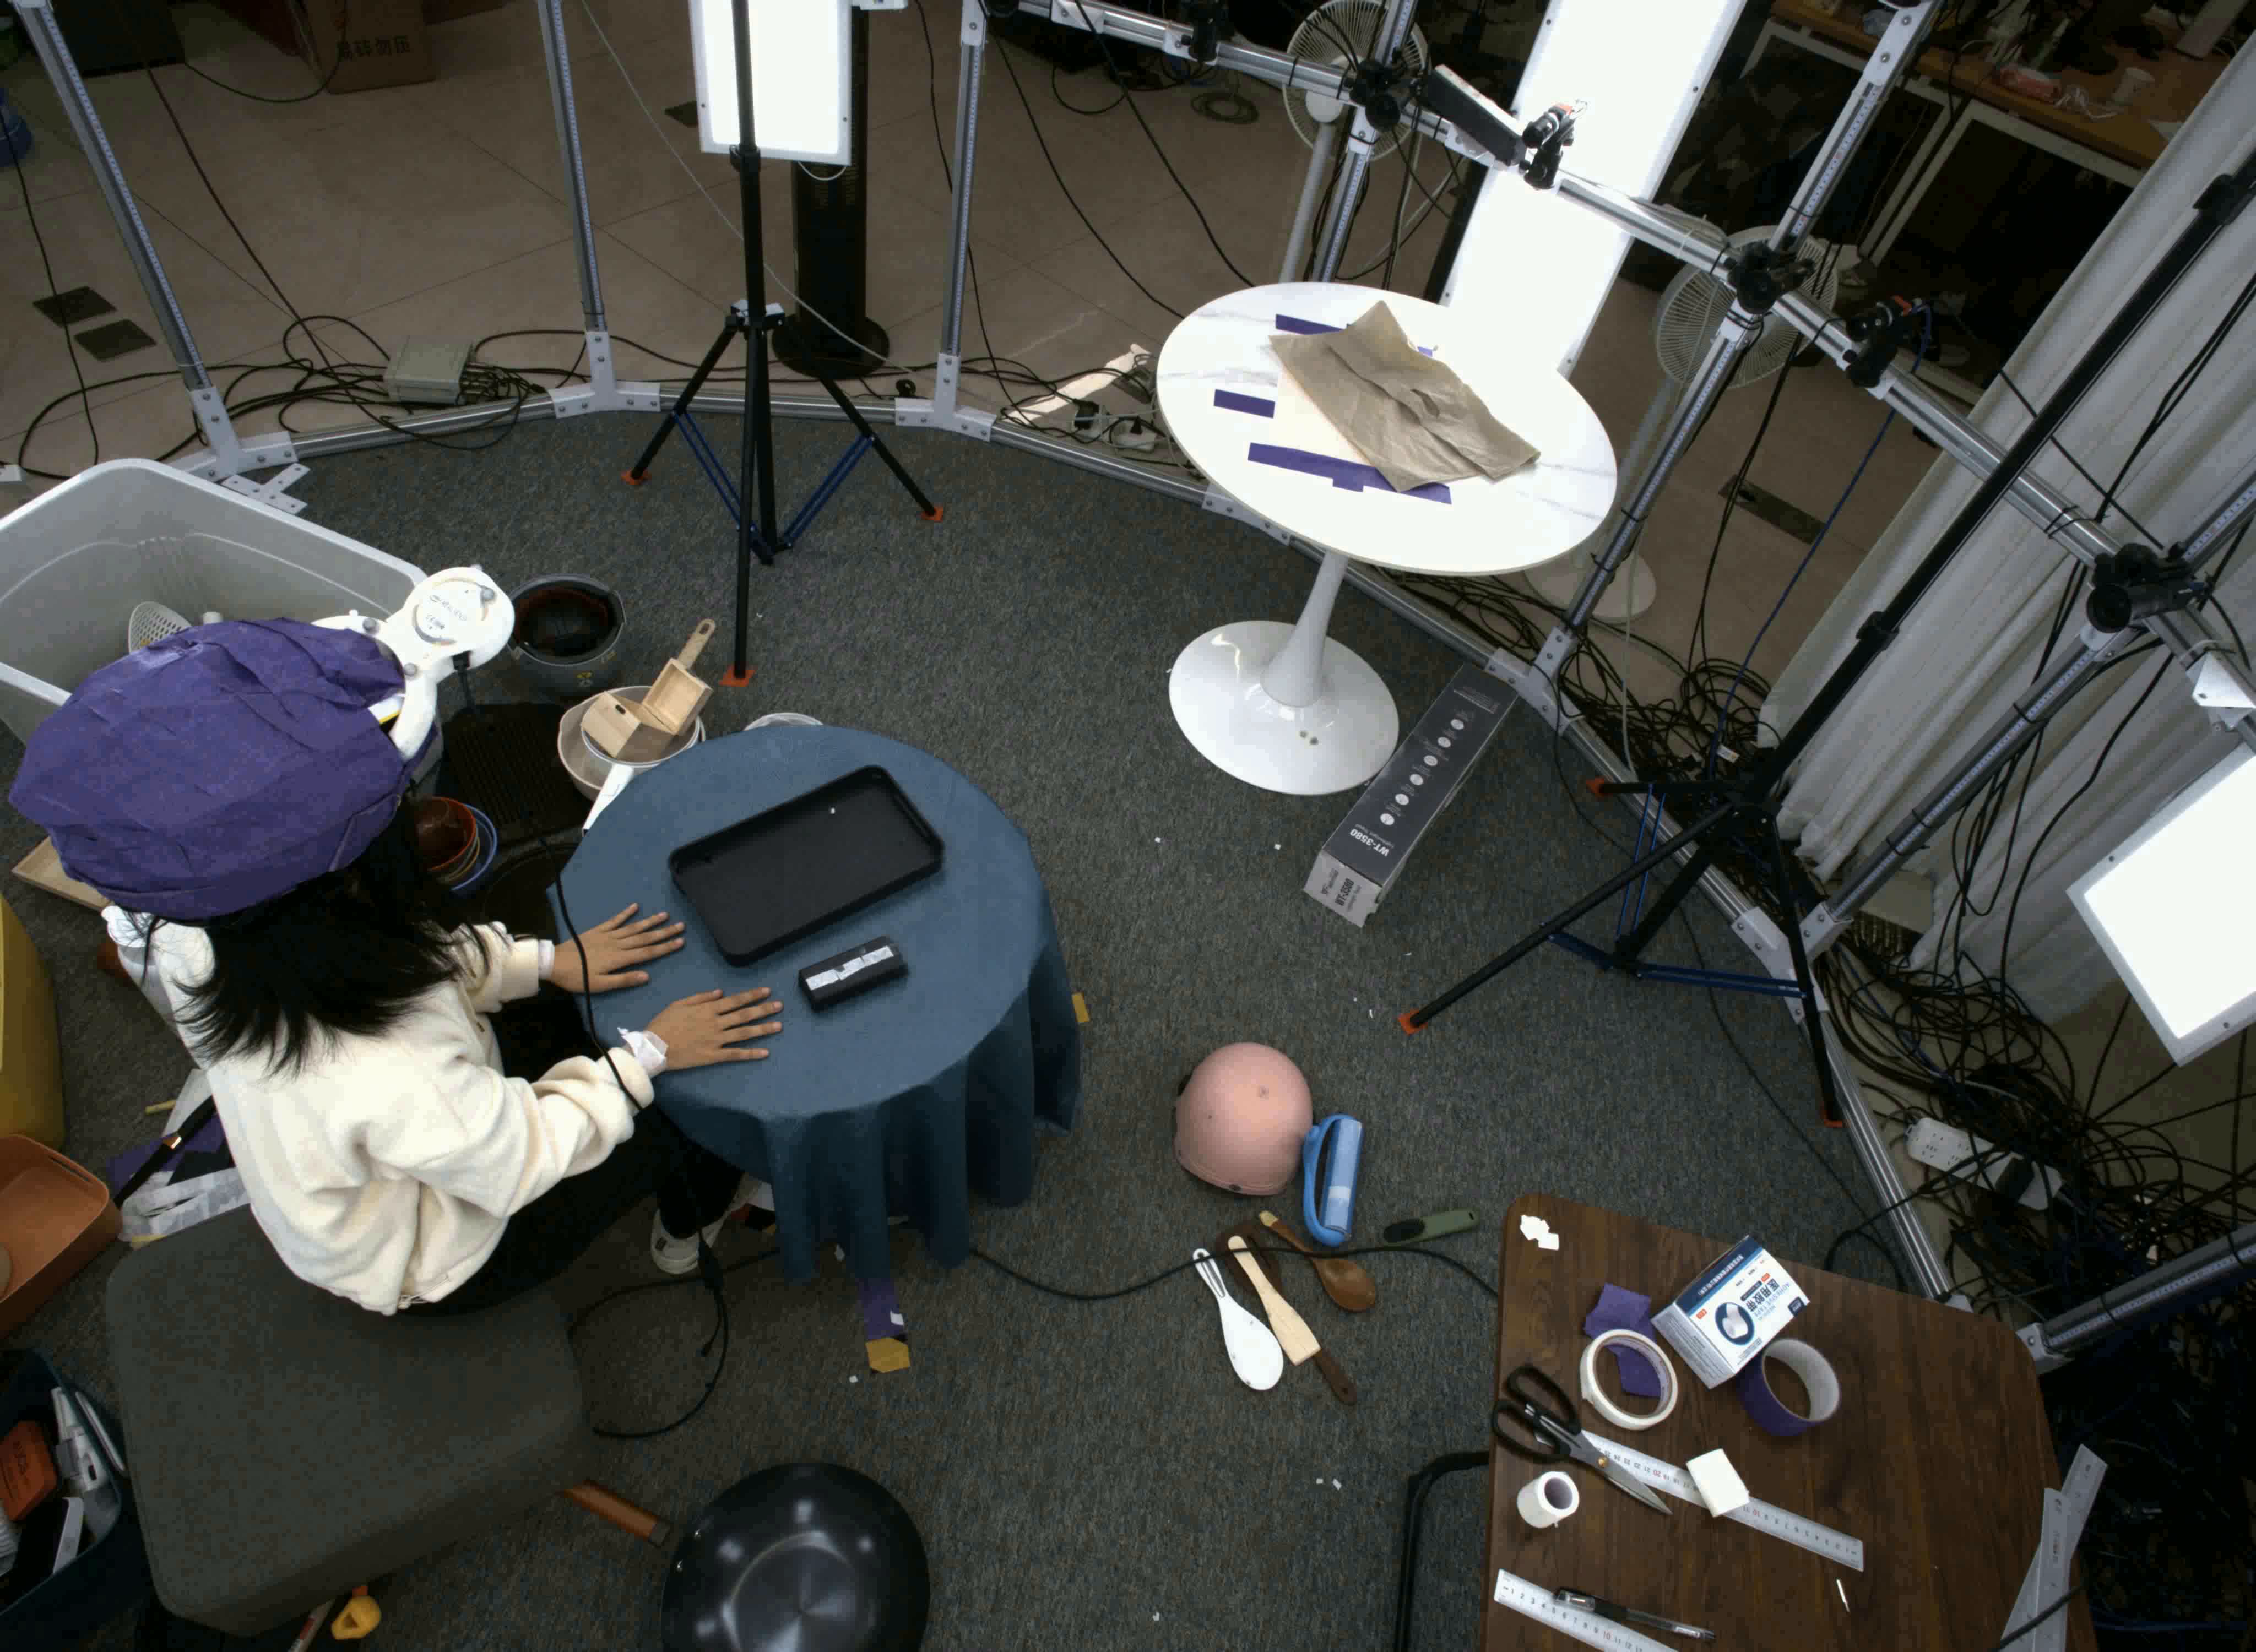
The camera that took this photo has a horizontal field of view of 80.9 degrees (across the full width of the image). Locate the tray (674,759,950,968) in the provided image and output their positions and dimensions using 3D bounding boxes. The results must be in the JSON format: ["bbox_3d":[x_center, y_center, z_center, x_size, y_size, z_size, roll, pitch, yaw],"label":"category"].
[{"bbox_3d":[-0.403,0.040,1.670,0.319,0.038,0.180,-31,66,-32],"label":"tray"}]

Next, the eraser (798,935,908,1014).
[{"bbox_3d":[-0.336,0.178,1.591,0.126,0.031,0.052,-23,58,-28],"label":"eraser"}]
